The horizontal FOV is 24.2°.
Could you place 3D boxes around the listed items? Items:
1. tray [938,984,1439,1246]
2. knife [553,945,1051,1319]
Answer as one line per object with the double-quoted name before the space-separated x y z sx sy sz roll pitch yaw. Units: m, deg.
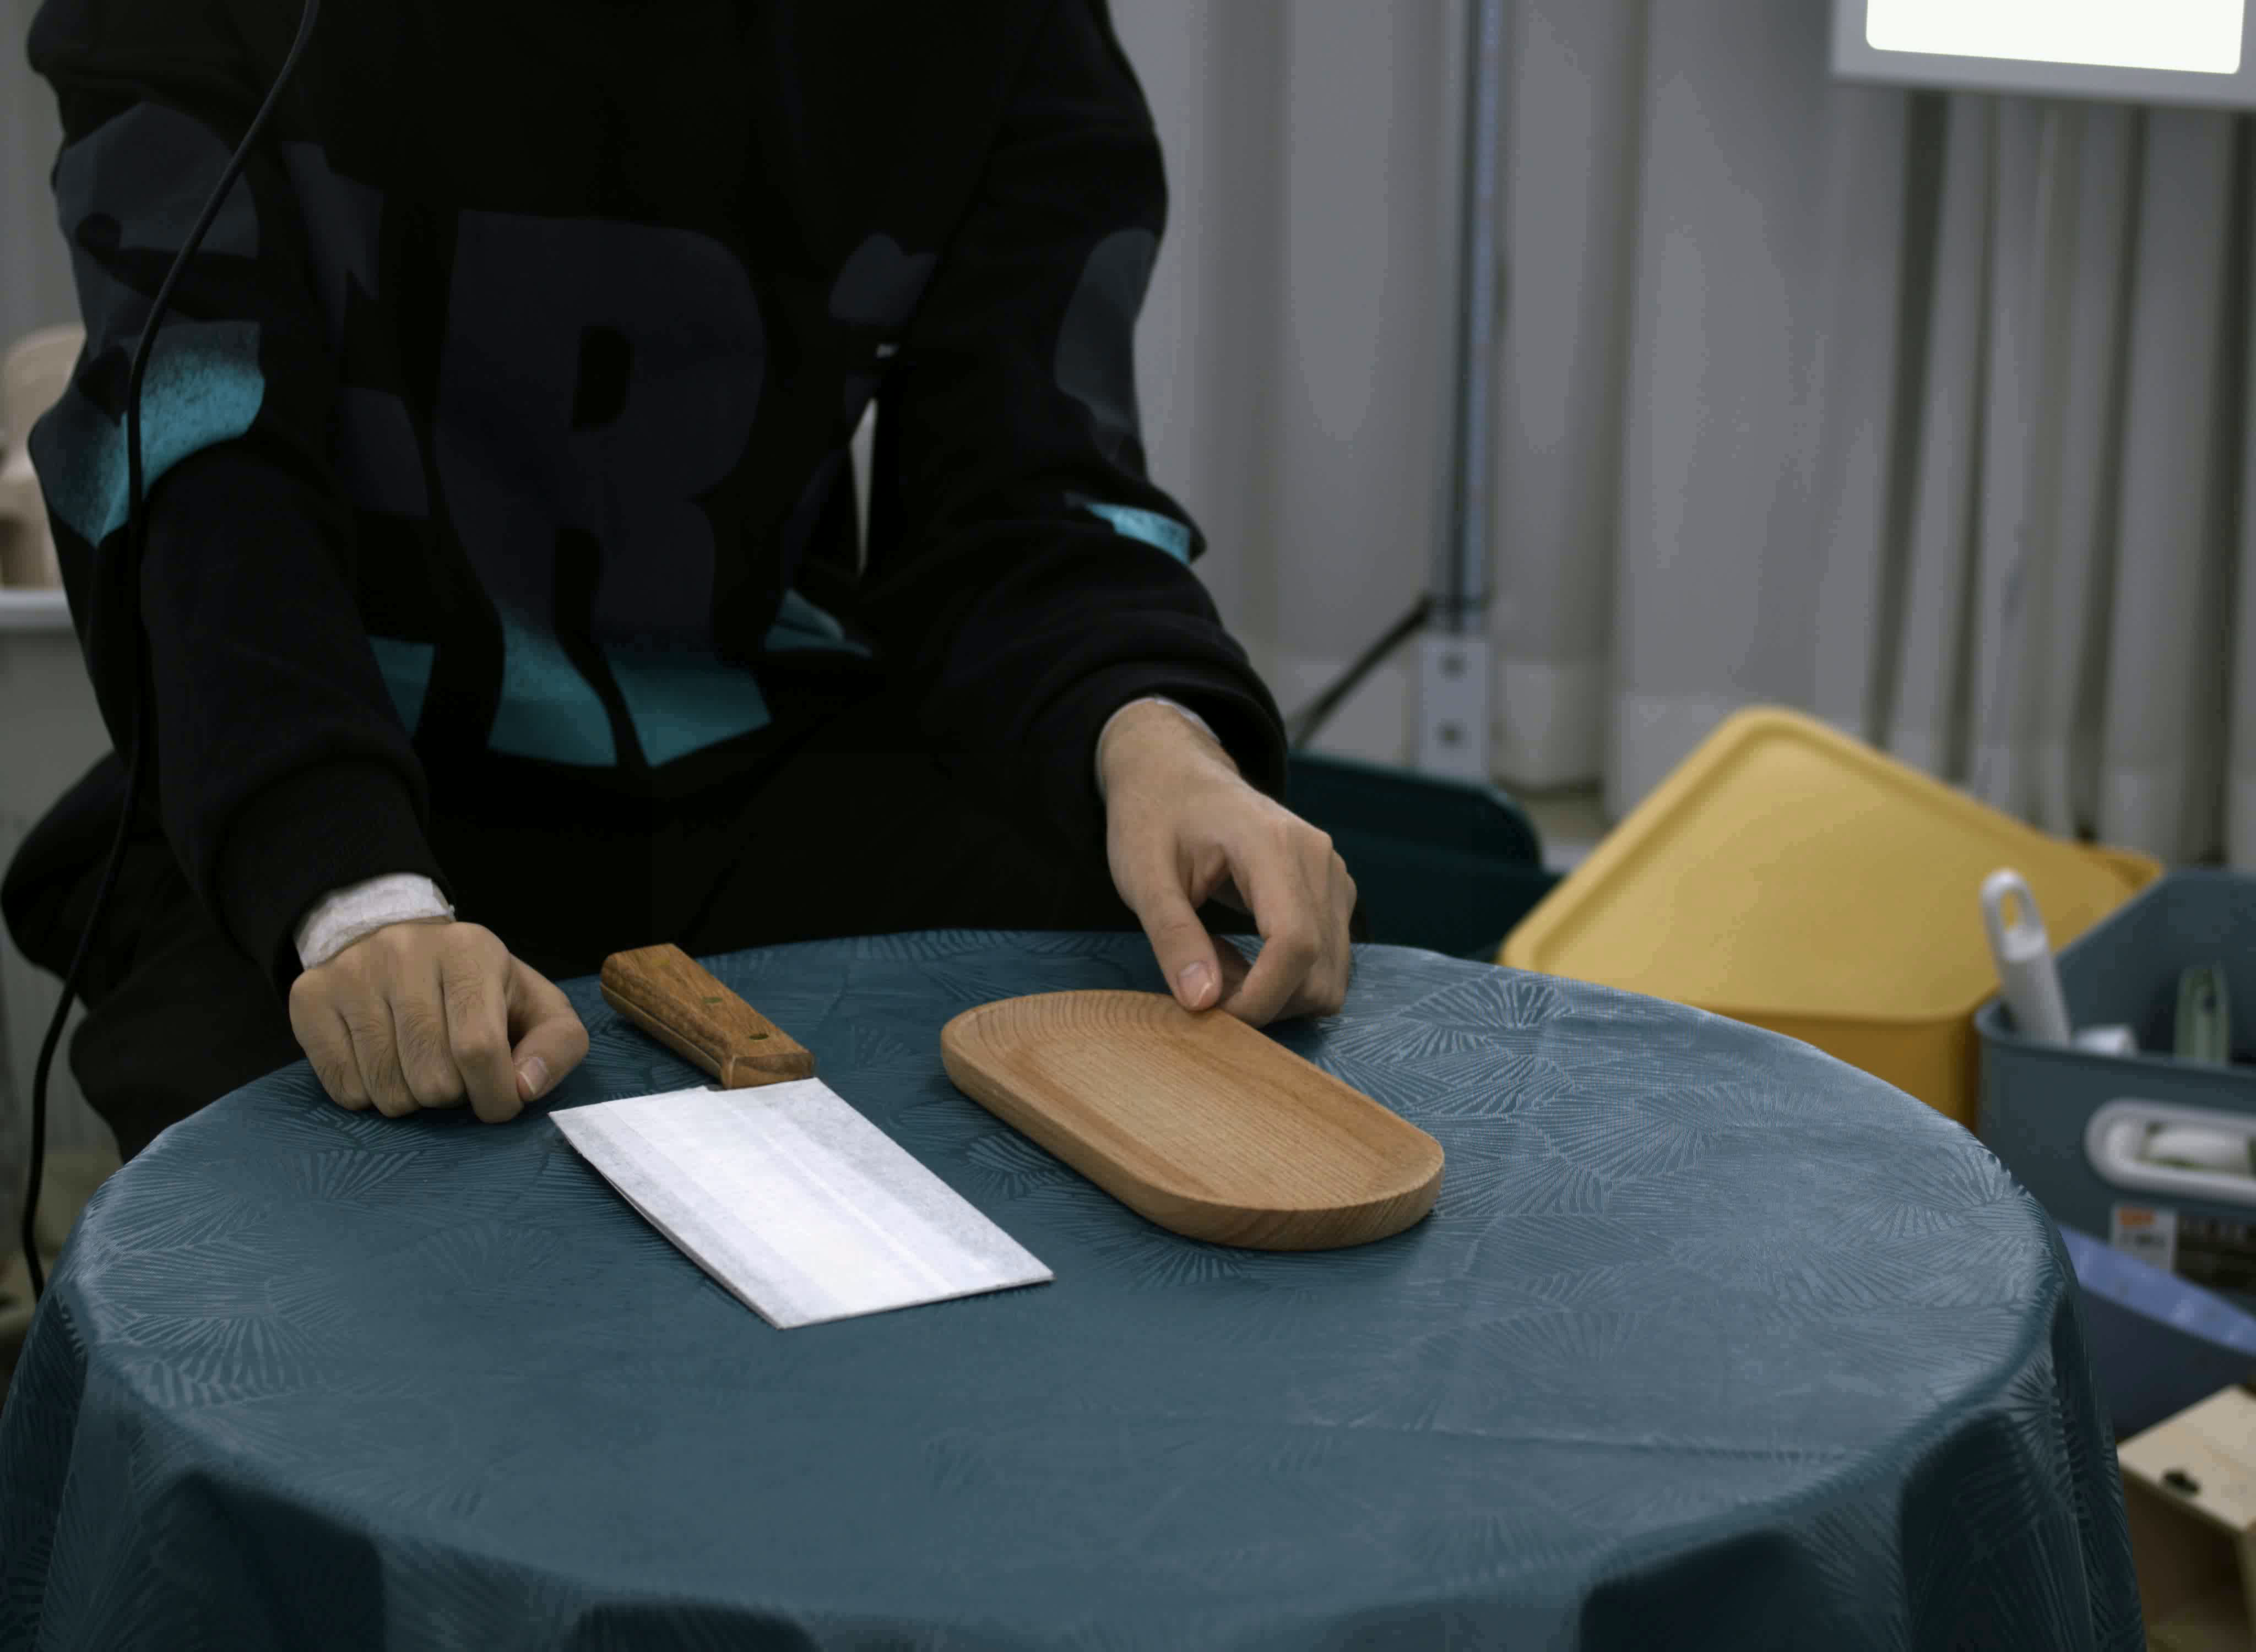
"tray" 0.017 0.090 1.672 0.102 0.020 0.228 -6 16 -25
"knife" -0.126 0.095 1.652 0.093 0.021 0.302 -9 20 -25
